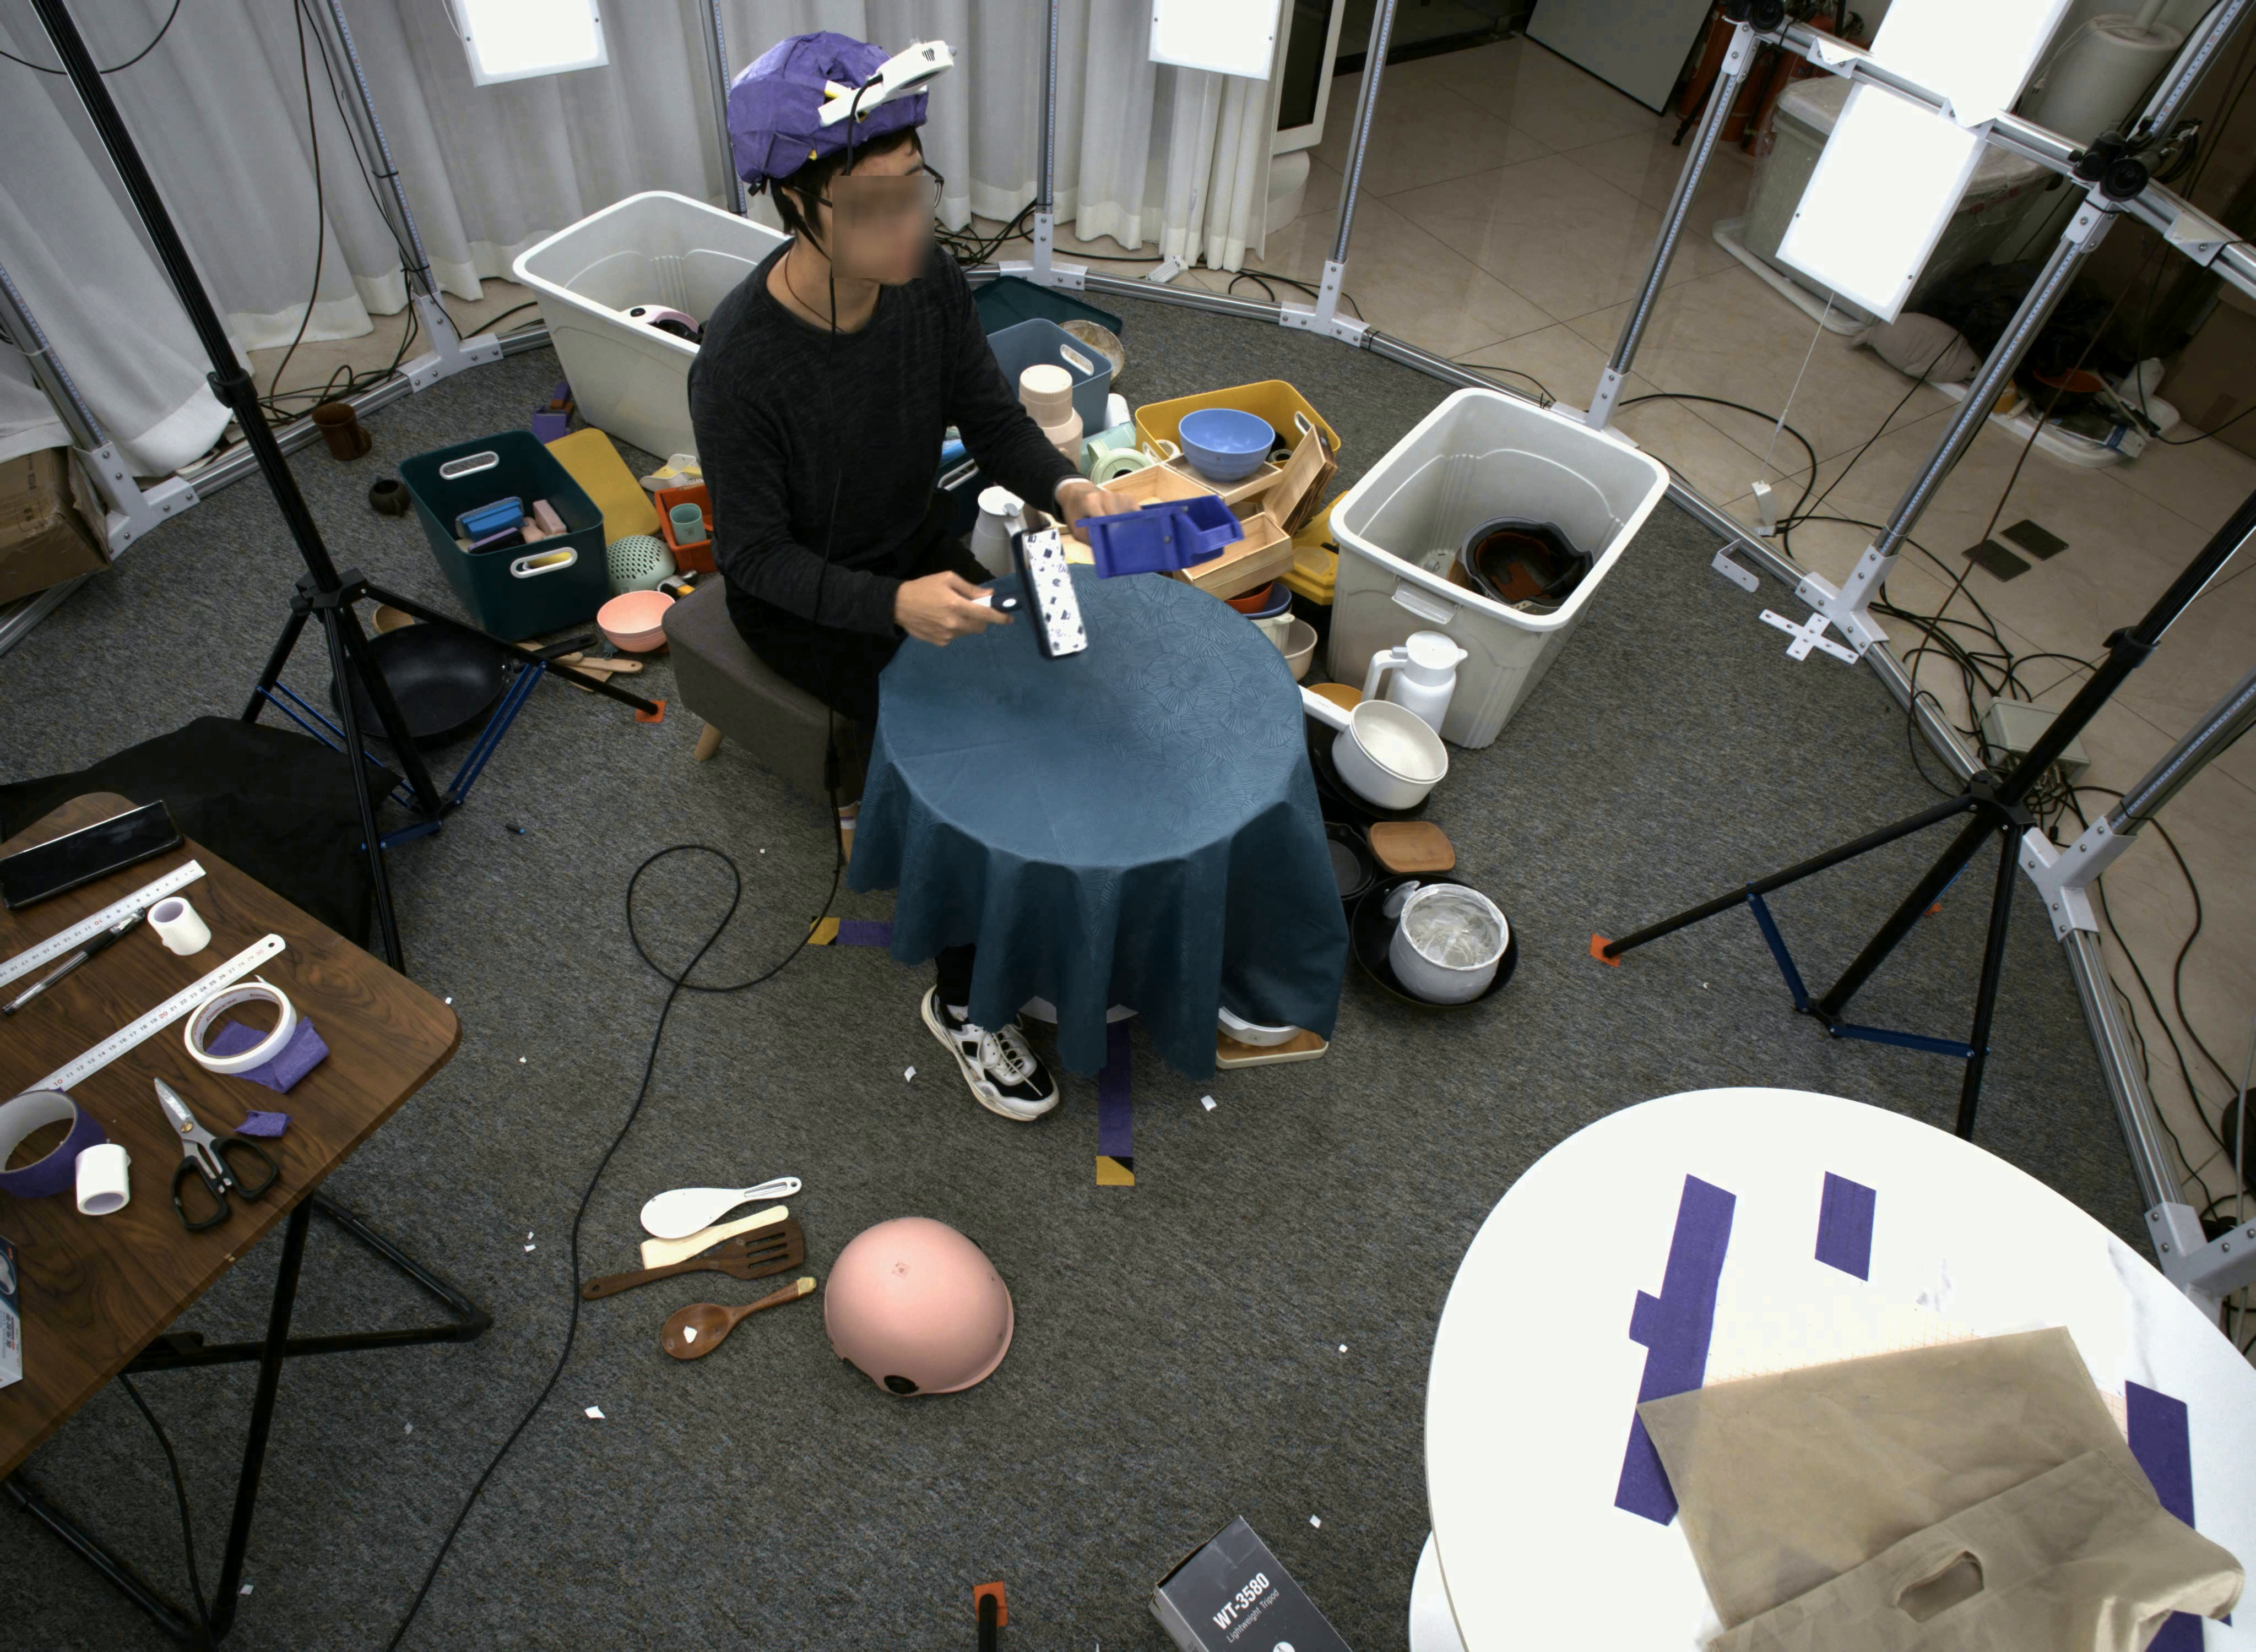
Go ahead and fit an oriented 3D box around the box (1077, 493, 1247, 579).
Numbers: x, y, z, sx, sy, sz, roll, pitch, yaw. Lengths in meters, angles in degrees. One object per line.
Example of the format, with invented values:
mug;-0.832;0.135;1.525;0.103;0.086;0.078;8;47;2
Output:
box;0.047;-0.377;1.671;0.180;0.081;0.125;-2;16;35

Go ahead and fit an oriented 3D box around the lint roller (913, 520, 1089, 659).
lint roller;-0.184;-0.295;1.724;0.247;0.174;0.051;-10;15;24
